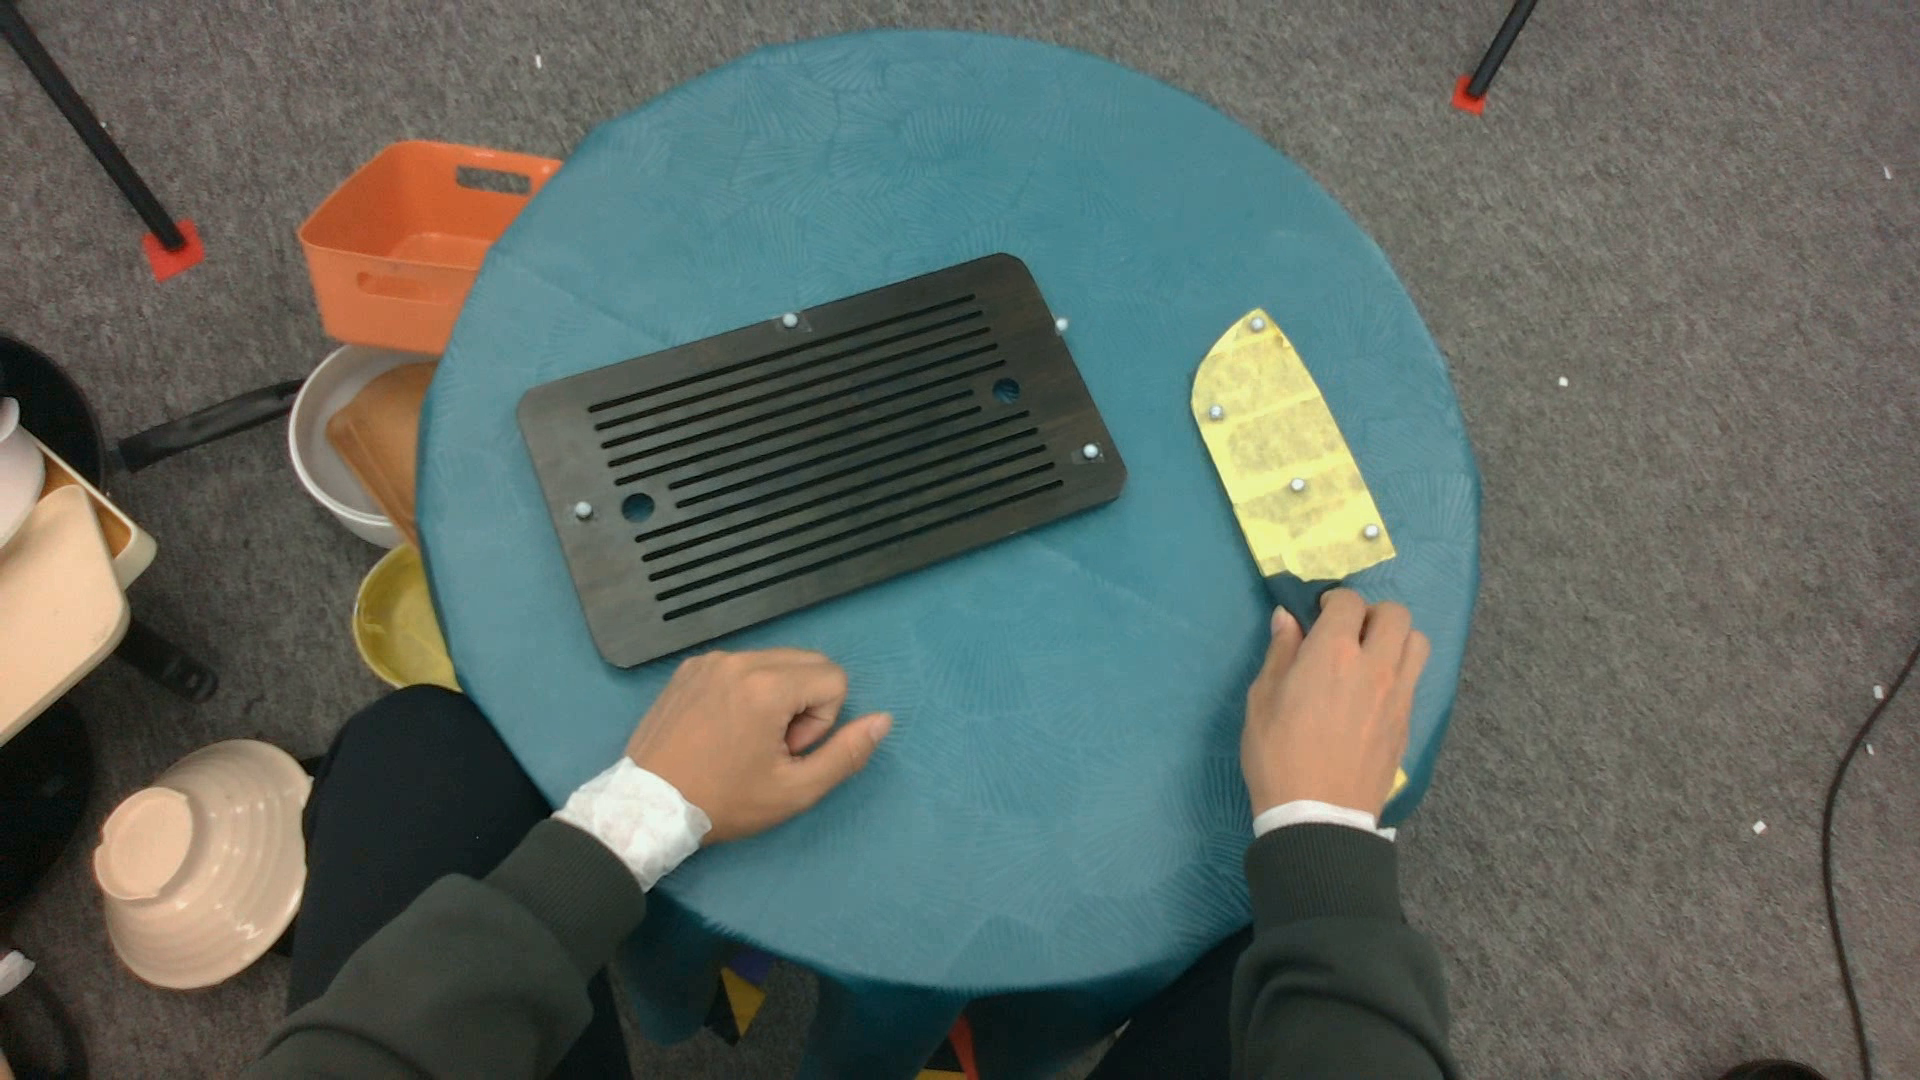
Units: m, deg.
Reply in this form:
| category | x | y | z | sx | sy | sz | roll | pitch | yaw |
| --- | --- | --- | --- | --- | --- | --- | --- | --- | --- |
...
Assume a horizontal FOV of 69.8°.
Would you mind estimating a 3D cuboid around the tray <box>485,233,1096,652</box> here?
| category | x | y | z | sx | sy | sz | roll | pitch | yaw |
| --- | --- | --- | --- | --- | --- | --- | --- | --- | --- |
| tray | -0.090 | -0.061 | 0.764 | 0.306 | 0.018 | 0.170 | -19 | 72 | -15 |

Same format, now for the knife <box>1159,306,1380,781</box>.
| category | x | y | z | sx | sy | sz | roll | pitch | yaw |
| --- | --- | --- | --- | --- | --- | --- | --- | --- | --- |
| knife | 0.183 | -0.008 | 0.775 | 0.081 | 0.027 | 0.290 | -18 | 71 | 4 |
